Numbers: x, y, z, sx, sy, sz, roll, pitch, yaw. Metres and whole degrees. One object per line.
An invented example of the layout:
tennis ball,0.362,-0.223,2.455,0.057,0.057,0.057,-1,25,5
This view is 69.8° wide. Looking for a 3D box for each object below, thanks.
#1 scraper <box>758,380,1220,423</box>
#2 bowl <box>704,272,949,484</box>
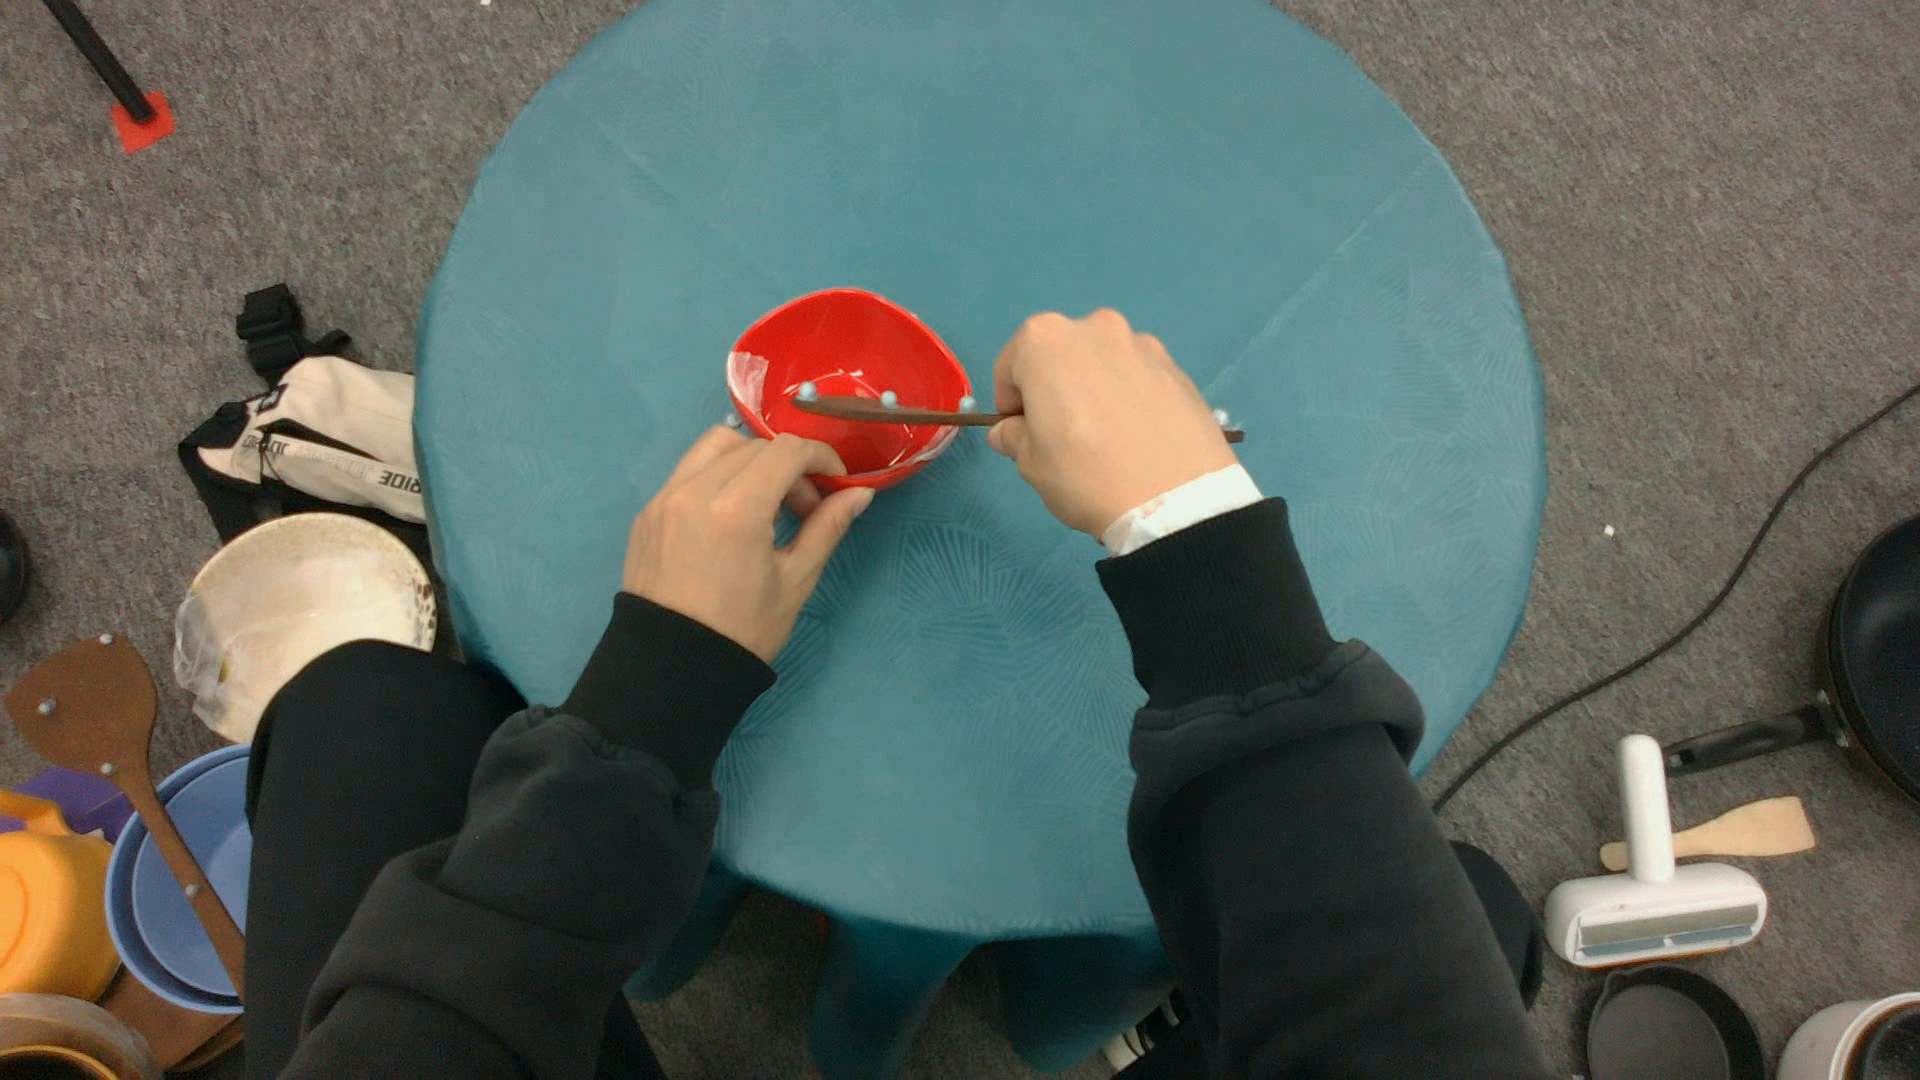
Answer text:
scraper,0.011,-0.061,0.613,0.211,0.076,0.011,6,99,26
bowl,-0.068,-0.072,0.679,0.119,0.051,0.119,8,55,-12
